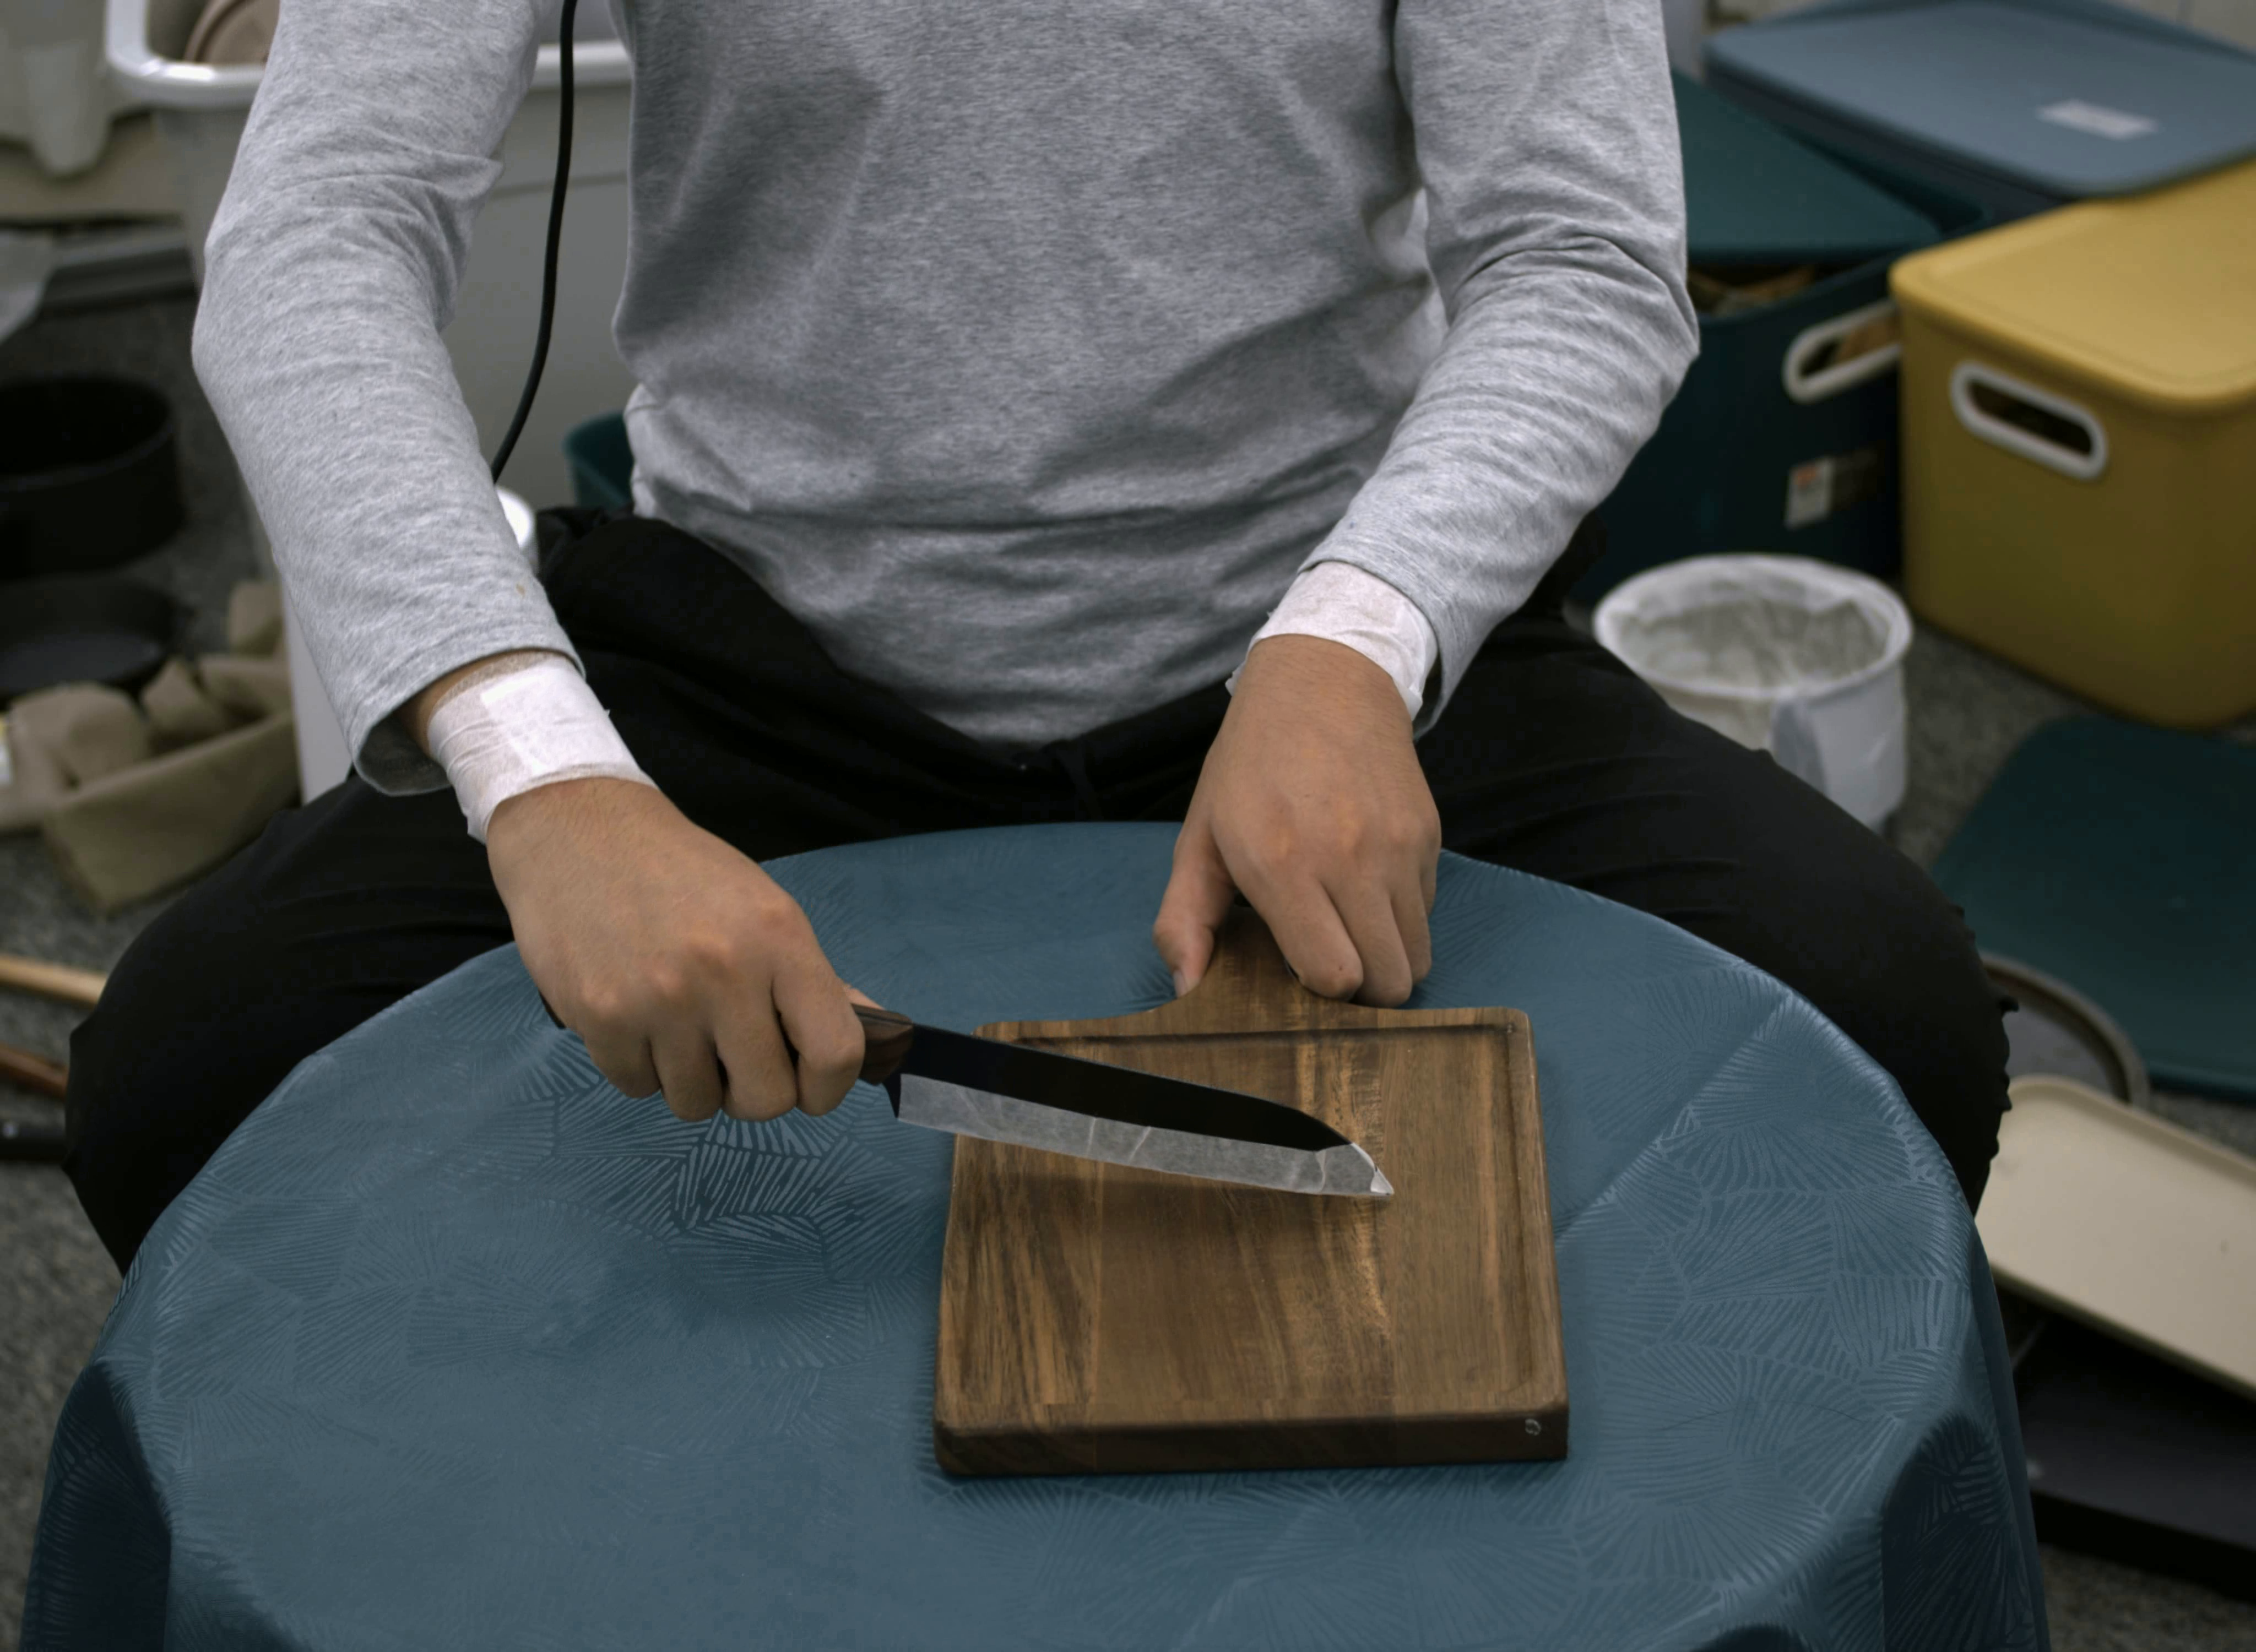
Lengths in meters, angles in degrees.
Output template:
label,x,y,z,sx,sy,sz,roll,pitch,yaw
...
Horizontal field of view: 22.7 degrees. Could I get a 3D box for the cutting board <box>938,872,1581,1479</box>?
label,x,y,z,sx,sy,sz,roll,pitch,yaw
cutting board,0.041,0.107,1.864,0.200,0.023,0.357,-1,27,2

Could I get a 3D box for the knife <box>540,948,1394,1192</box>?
label,x,y,z,sx,sy,sz,roll,pitch,yaw
knife,-0.053,0.082,1.830,0.288,0.049,0.020,13,41,6
